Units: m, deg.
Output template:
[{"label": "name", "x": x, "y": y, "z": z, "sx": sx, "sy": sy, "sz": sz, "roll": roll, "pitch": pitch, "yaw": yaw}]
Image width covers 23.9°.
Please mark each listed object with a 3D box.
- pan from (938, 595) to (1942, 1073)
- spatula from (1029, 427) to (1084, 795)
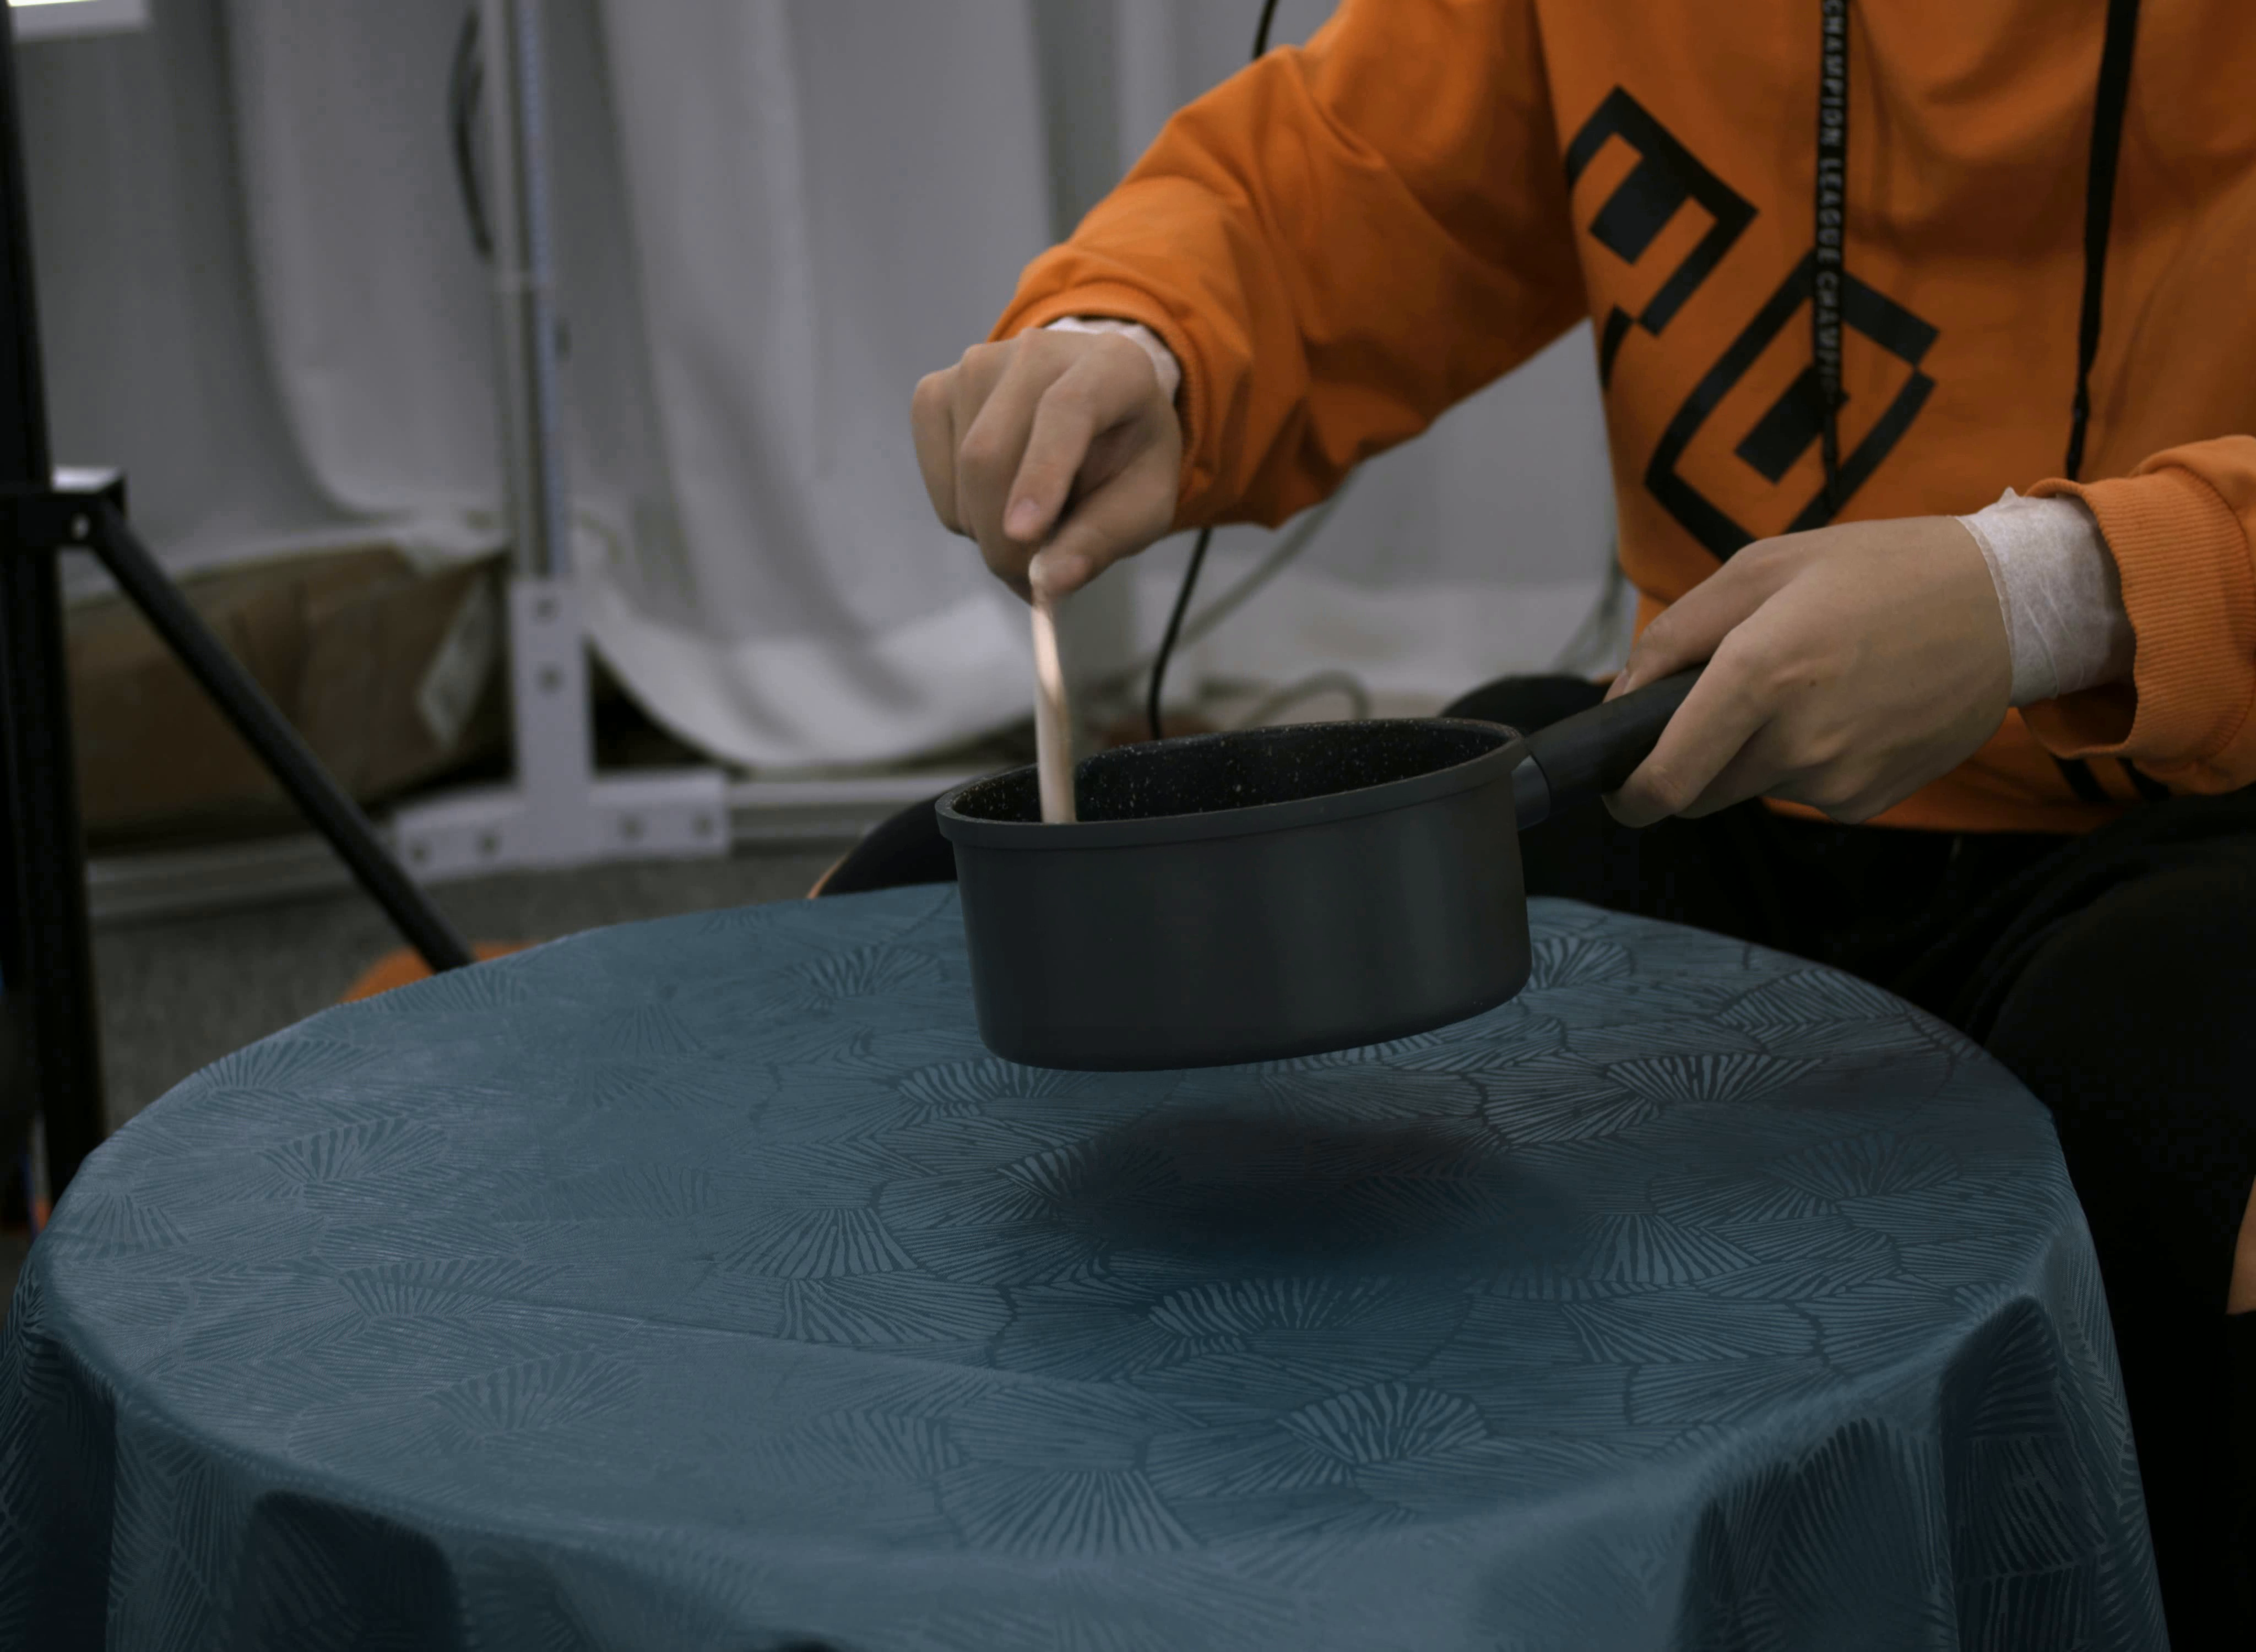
[{"label": "pan", "x": 0.103, "y": 0.003, "z": 1.576, "sx": 0.322, "sy": 0.086, "sz": 0.175, "roll": -12, "pitch": 10, "yaw": -24}, {"label": "spatula", "x": -0.023, "y": -0.065, "z": 1.636, "sx": 0.010, "sy": 0.072, "sz": 0.295, "roll": -5, "pitch": 23, "yaw": 0}]
